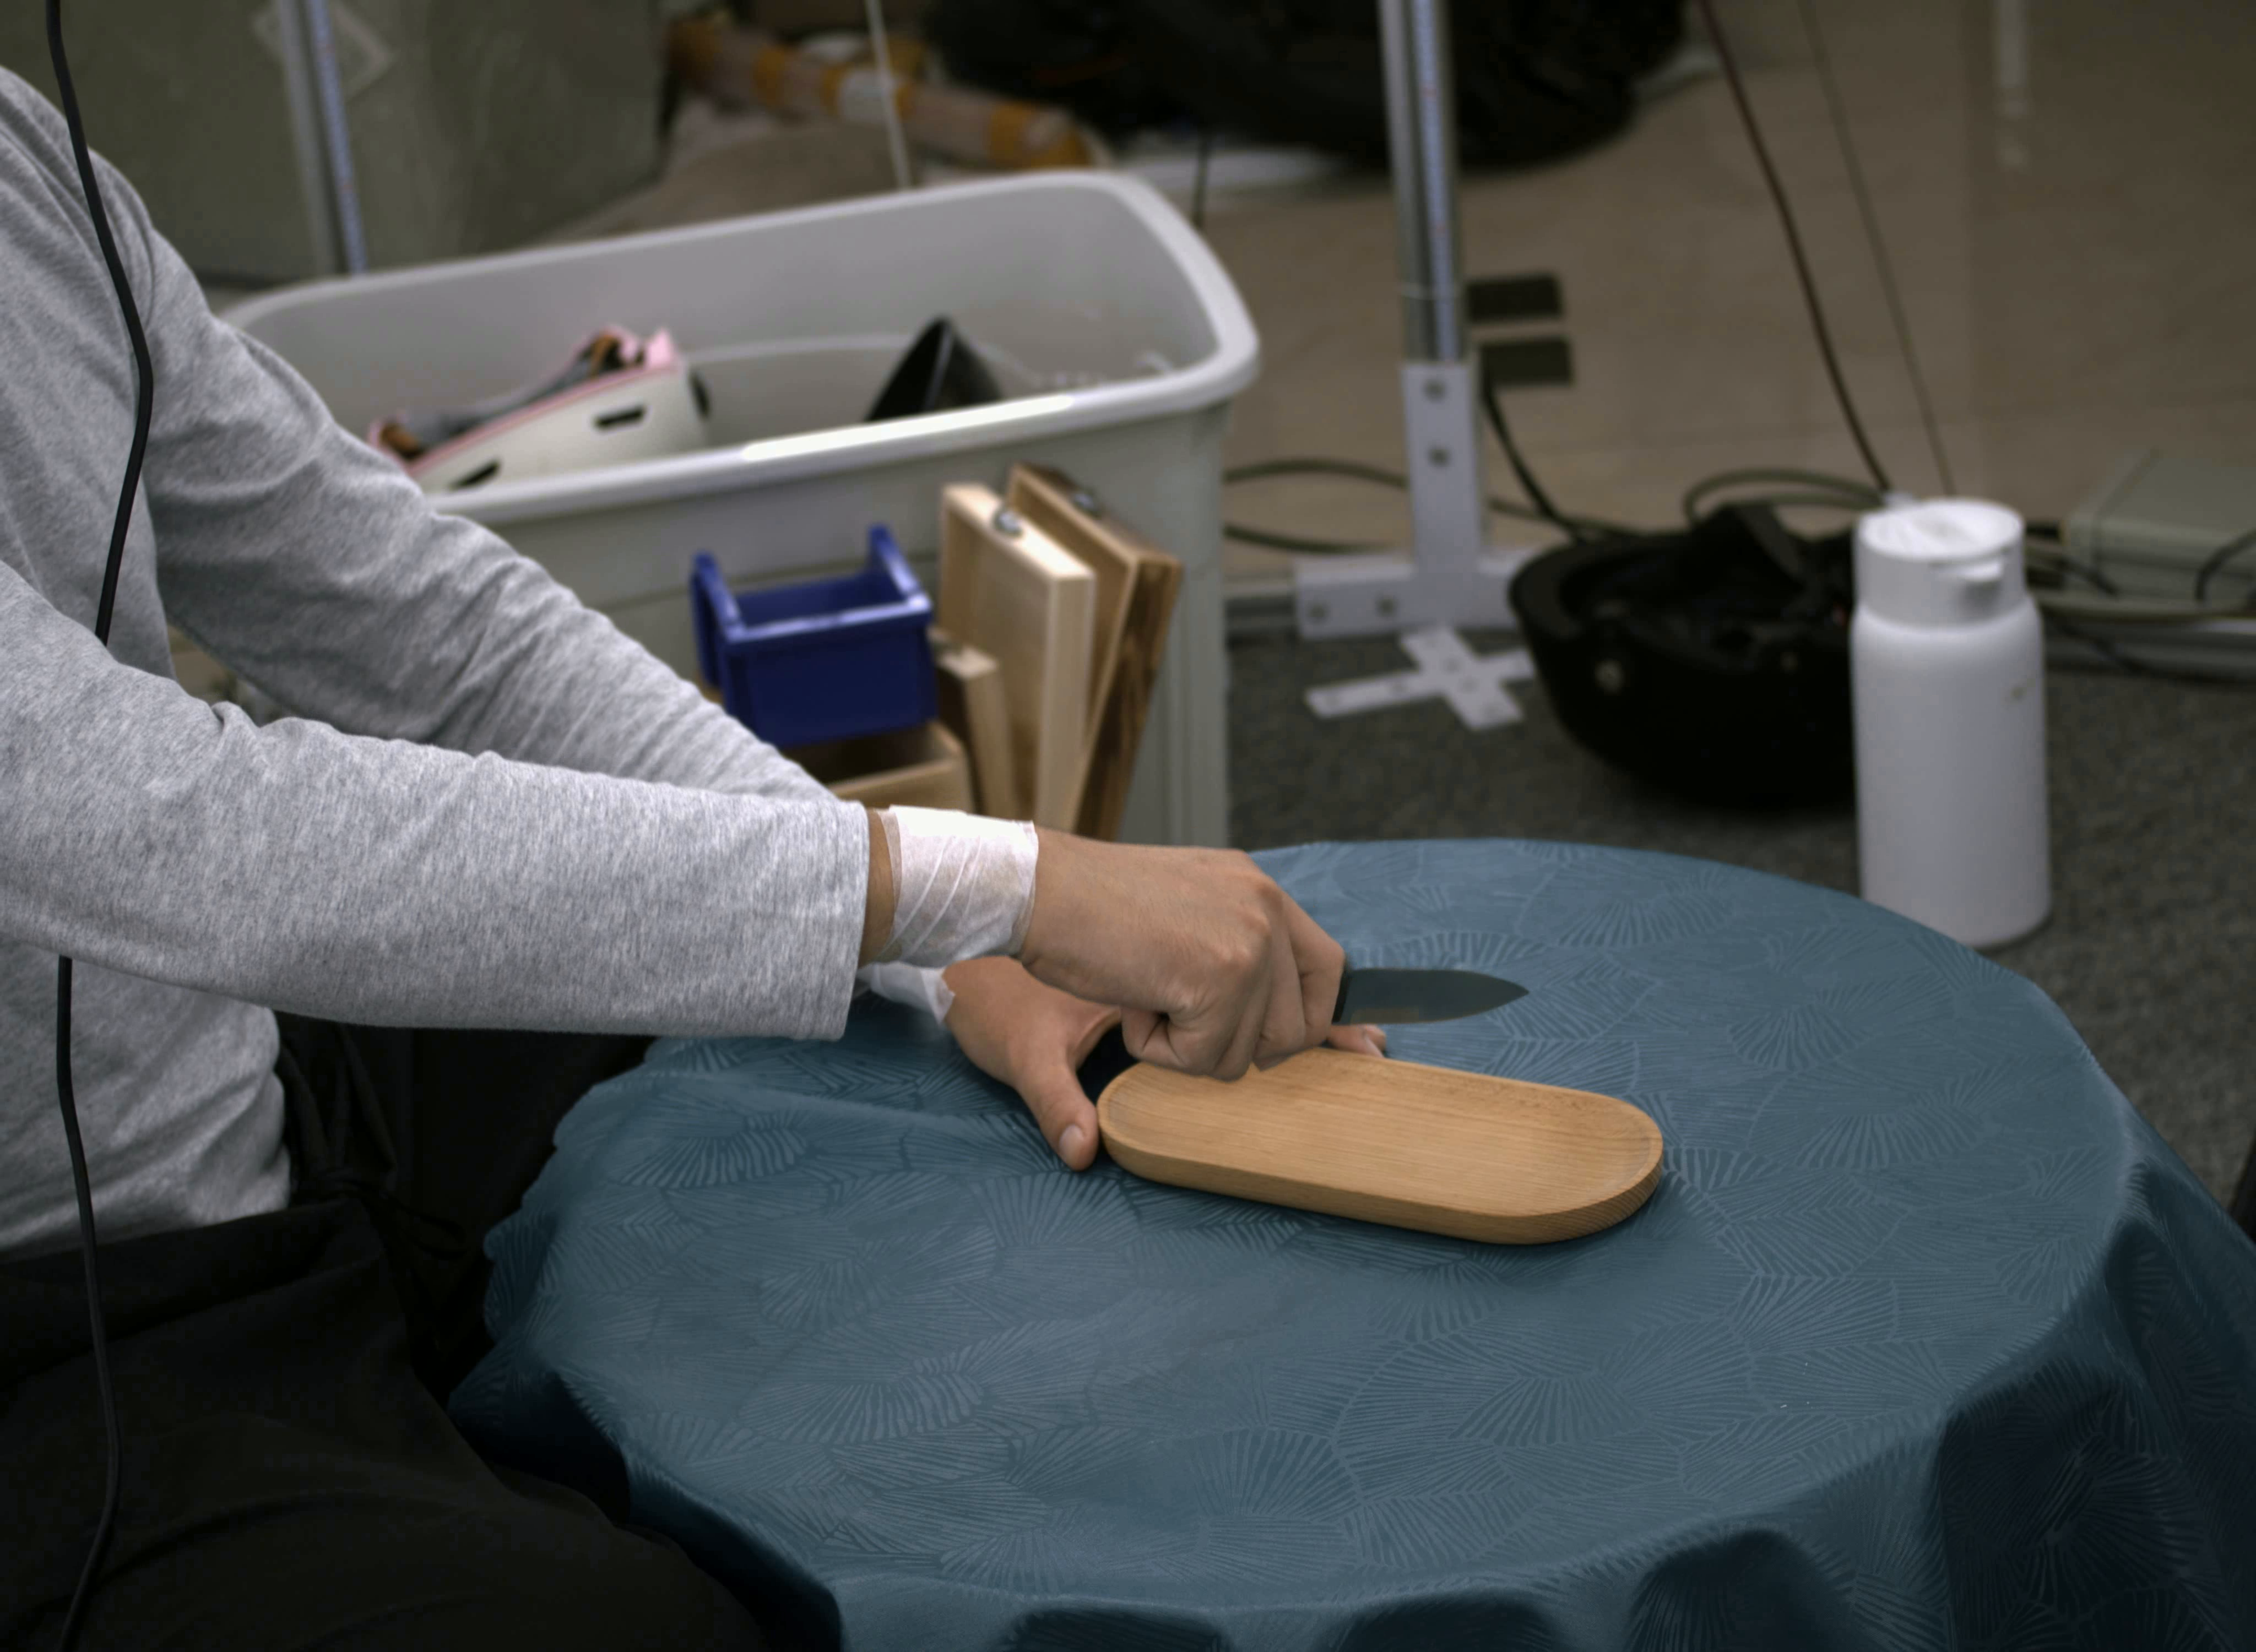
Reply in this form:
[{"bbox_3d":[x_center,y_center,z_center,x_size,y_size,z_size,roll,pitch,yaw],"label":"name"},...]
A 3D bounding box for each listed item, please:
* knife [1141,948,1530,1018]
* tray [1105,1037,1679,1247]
[{"bbox_3d":[0.081,0.056,2.051,0.016,0.024,0.238,12,4,37],"label":"knife"},{"bbox_3d":[0.098,0.119,2.152,0.230,0.020,0.100,10,32,27],"label":"tray"}]
